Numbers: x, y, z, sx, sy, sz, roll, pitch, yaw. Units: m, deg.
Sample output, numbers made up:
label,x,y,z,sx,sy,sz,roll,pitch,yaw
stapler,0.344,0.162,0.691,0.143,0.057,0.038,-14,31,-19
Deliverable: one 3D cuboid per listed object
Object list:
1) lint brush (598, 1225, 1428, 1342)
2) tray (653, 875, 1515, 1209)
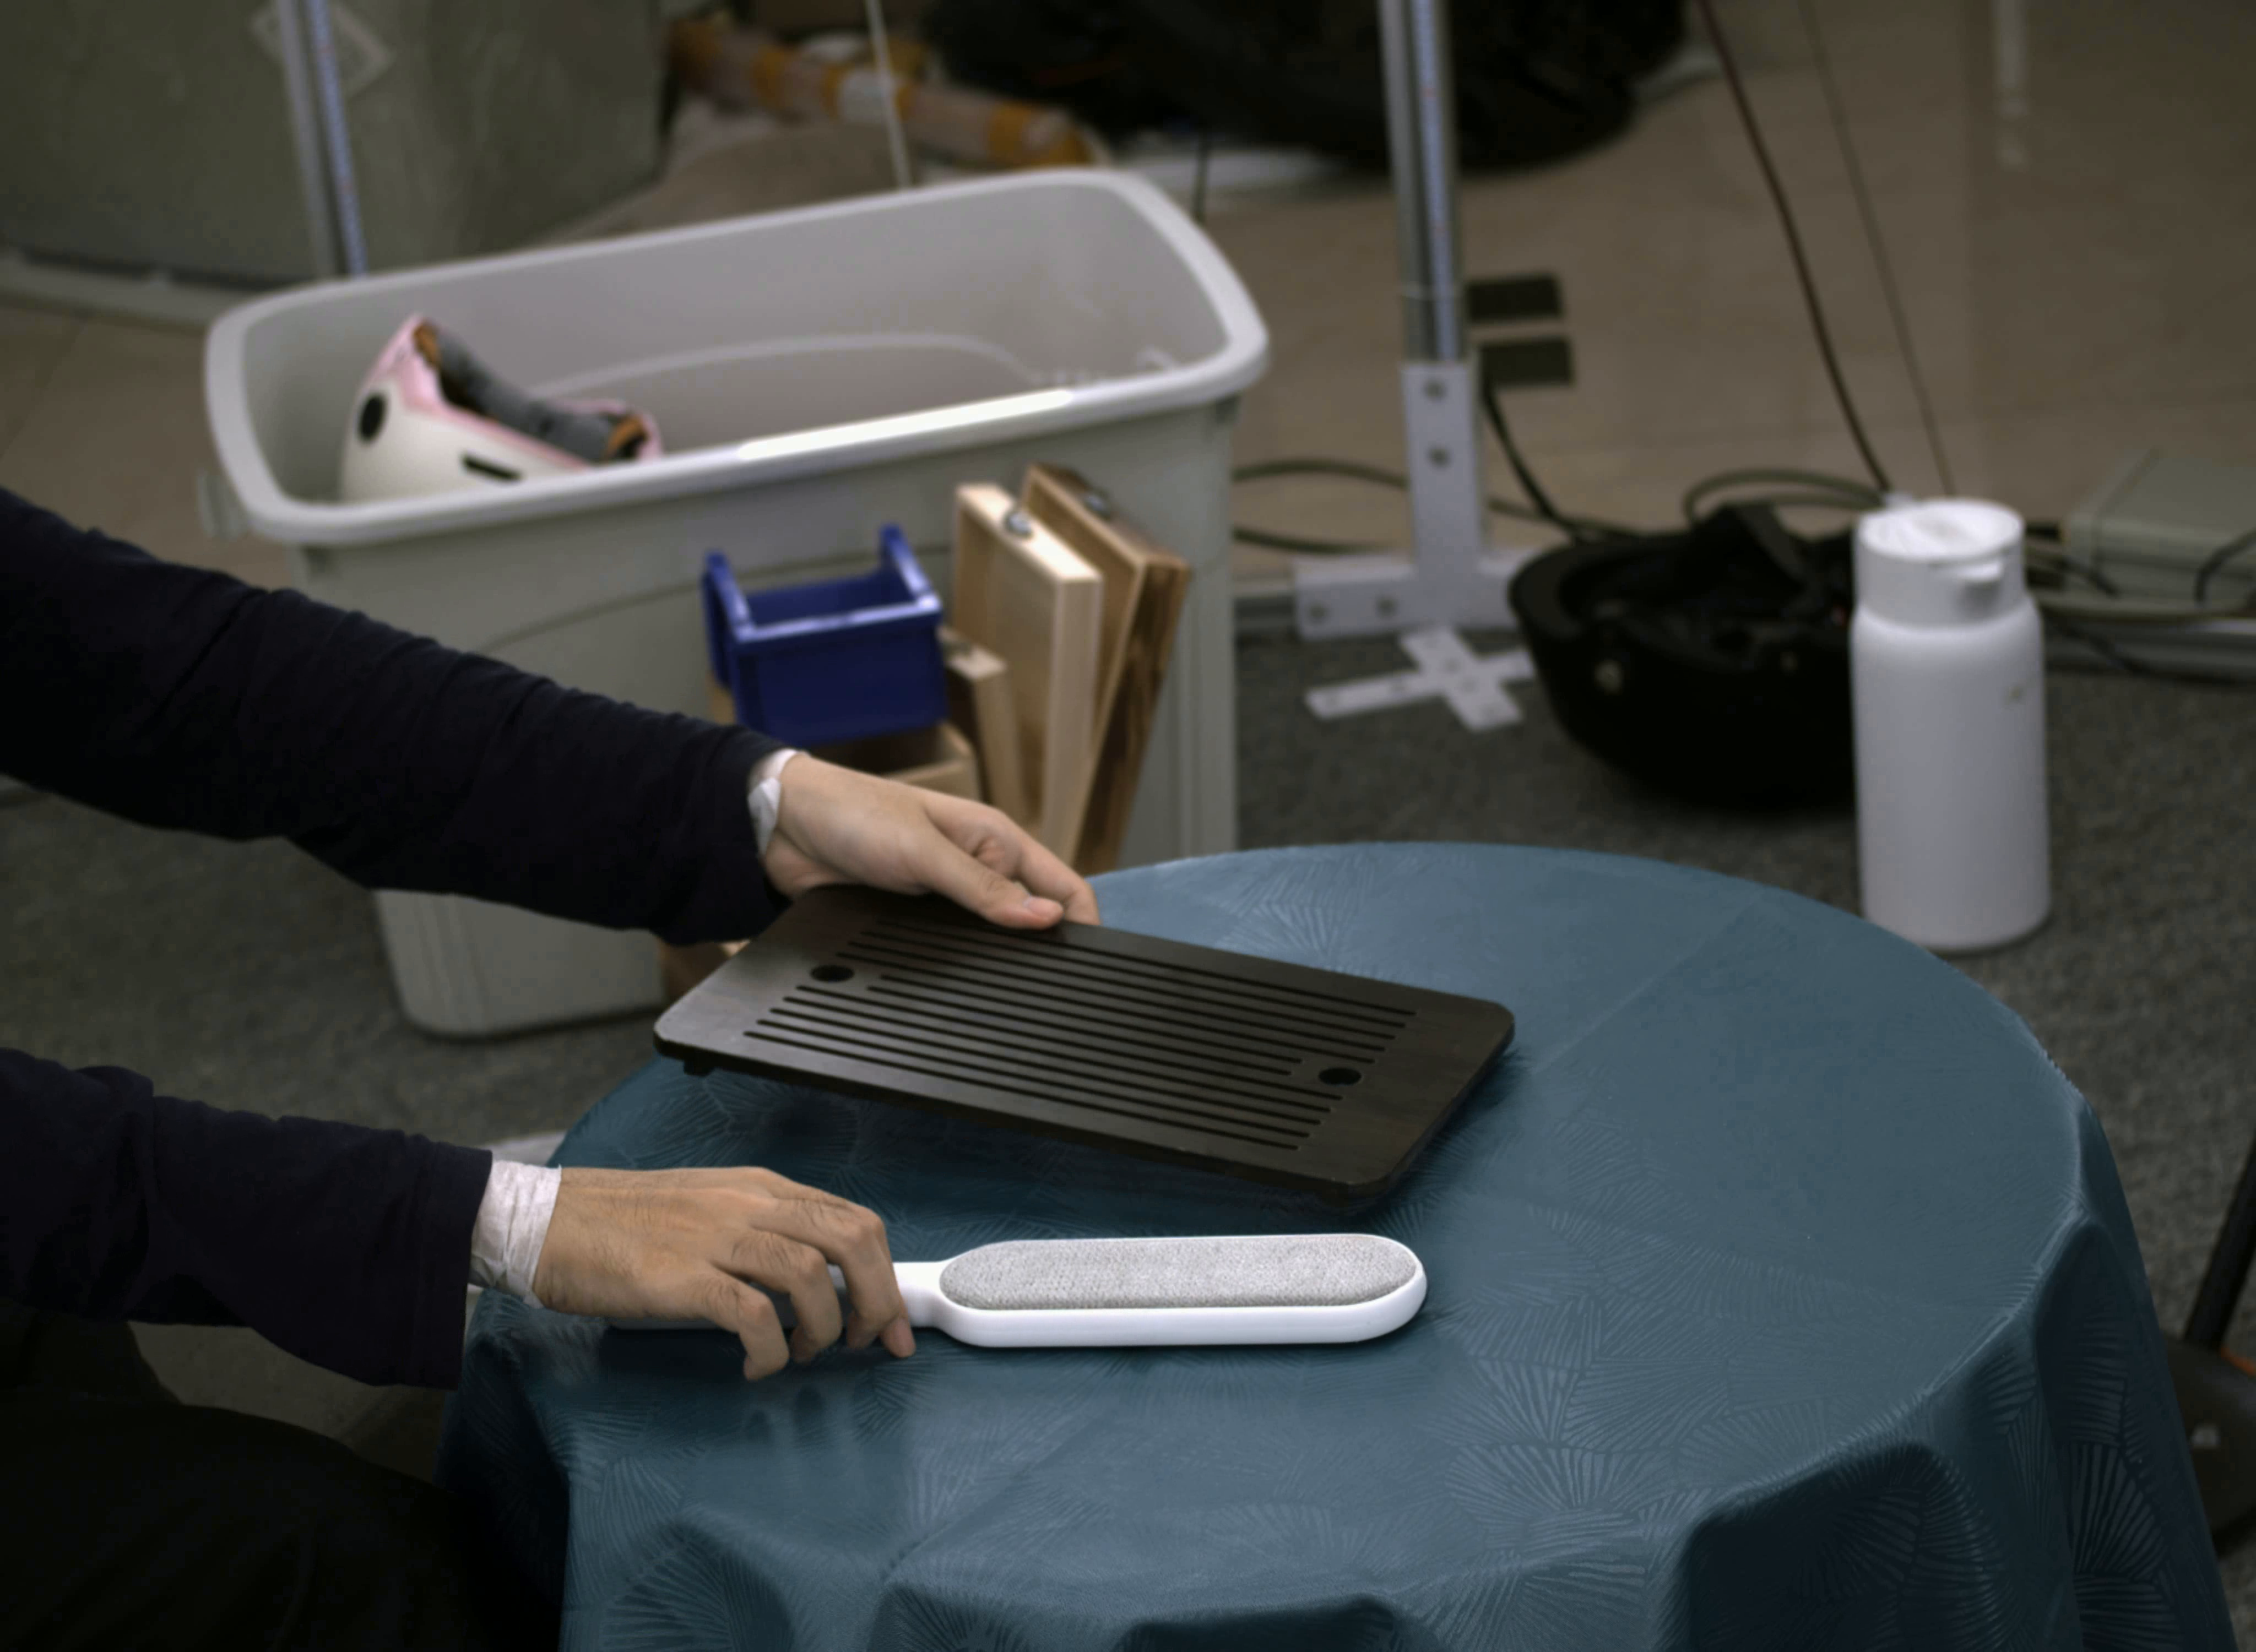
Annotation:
label,x,y,z,sx,sy,sz,roll,pitch,yaw
lint brush,-0.045,0.167,2.070,0.308,0.021,0.059,-1,31,11
tray,-0.016,0.083,2.213,0.304,0.019,0.168,10,27,19
